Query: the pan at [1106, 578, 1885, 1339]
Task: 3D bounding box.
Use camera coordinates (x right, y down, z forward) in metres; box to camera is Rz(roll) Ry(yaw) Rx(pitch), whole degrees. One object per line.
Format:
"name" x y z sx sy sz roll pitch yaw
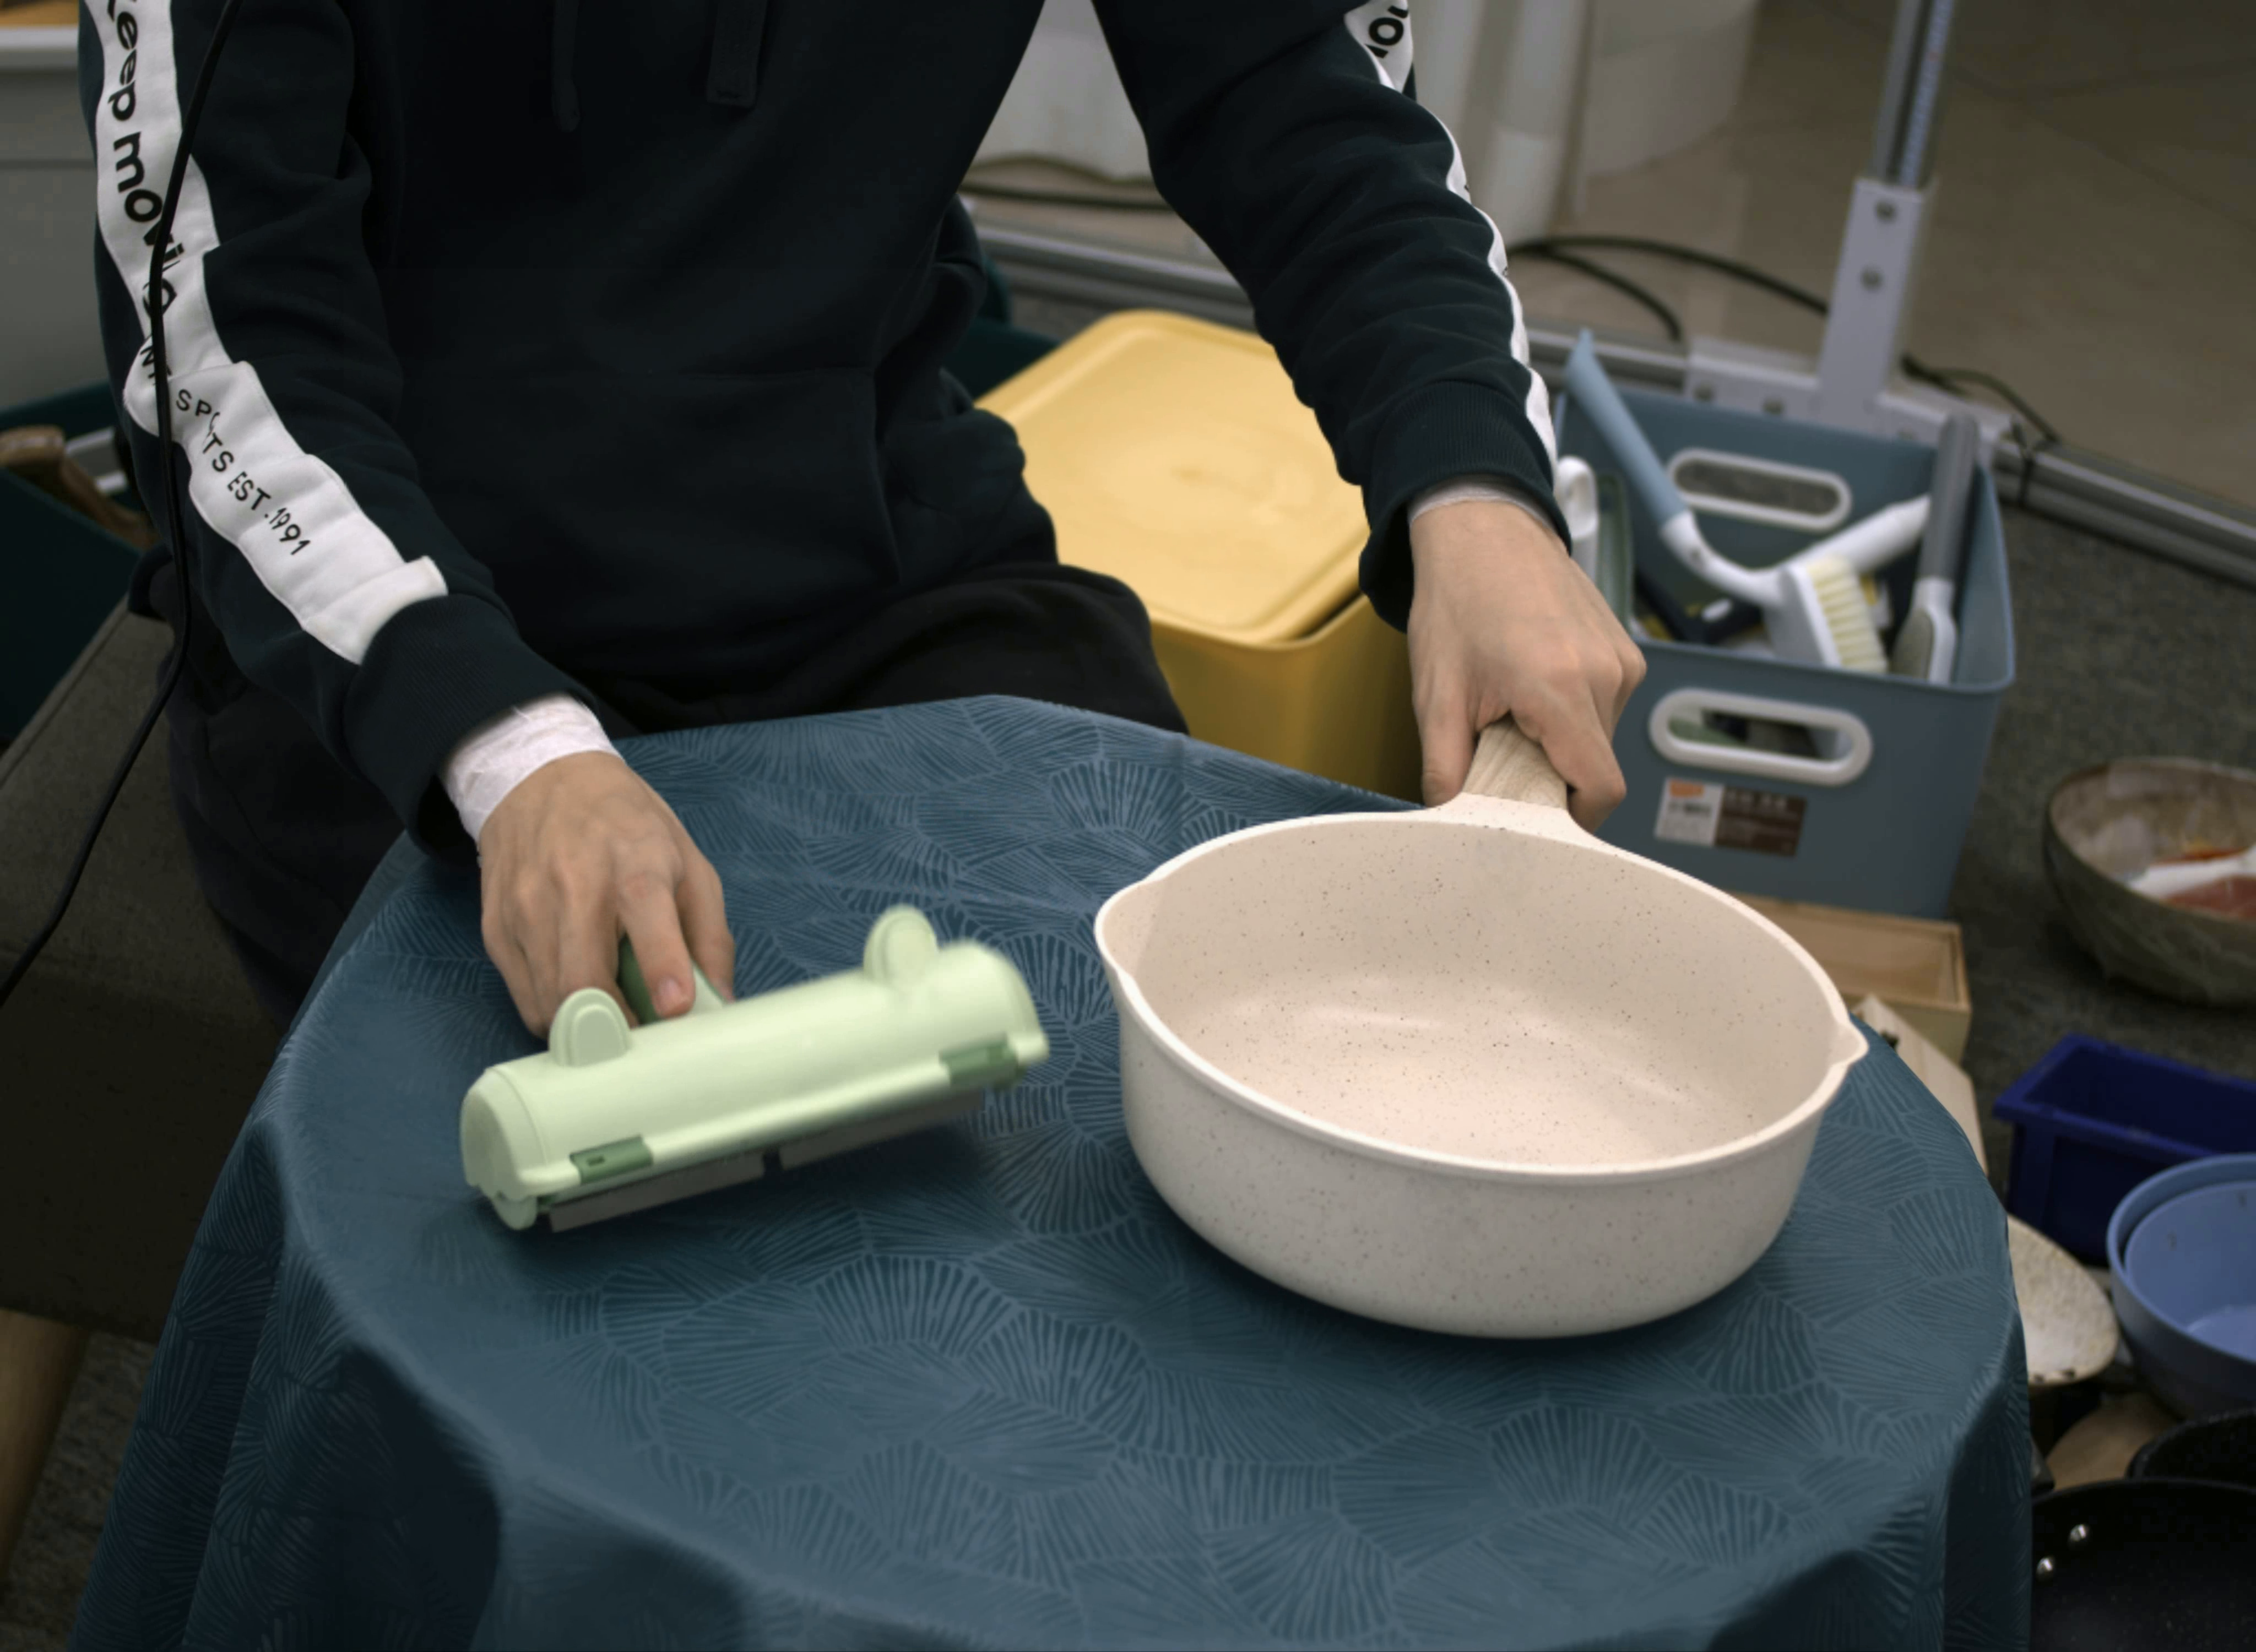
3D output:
"pan" 0.132 0.043 1.879 0.263 0.101 0.436 7 26 5

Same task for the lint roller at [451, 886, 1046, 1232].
"lint roller" -0.152 0.052 1.797 0.197 0.082 0.185 -13 40 -27
